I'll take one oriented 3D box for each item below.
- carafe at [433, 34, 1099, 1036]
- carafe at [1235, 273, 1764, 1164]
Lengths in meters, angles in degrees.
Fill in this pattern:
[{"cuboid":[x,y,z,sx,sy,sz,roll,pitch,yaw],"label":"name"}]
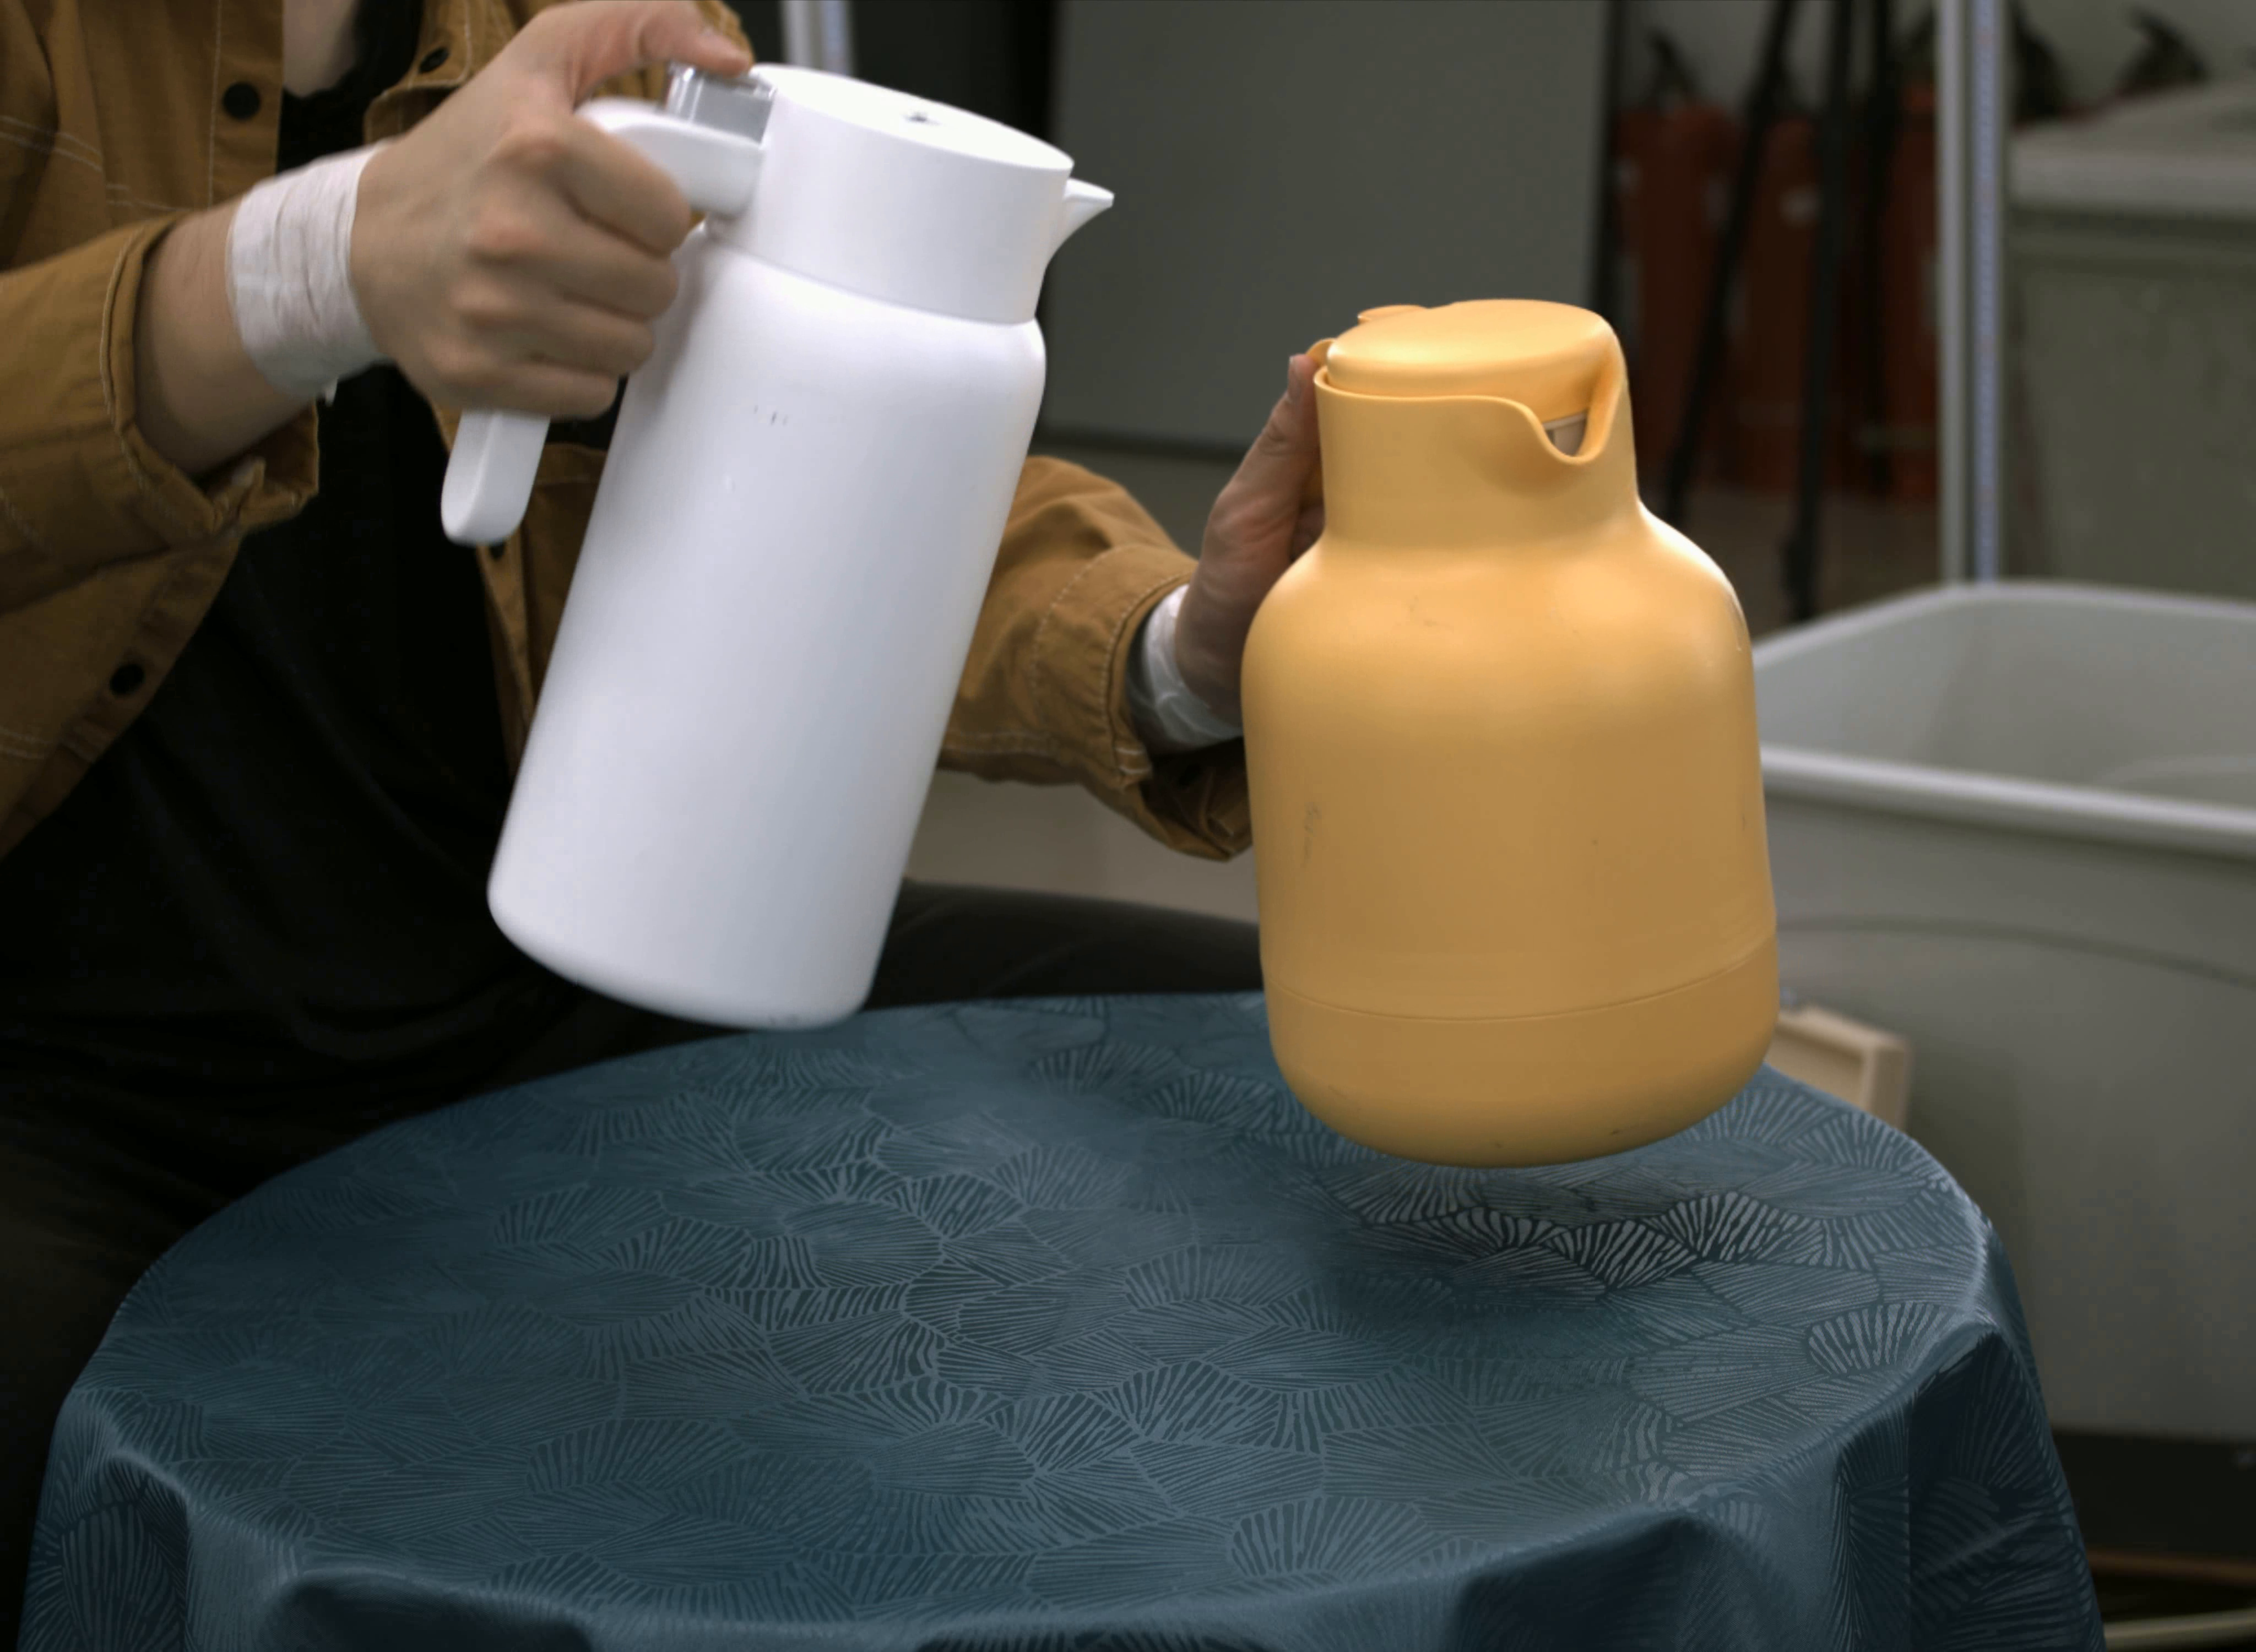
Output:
[{"cuboid":[-0.115,-0.084,1.556,0.169,0.272,0.125,9,17,-25],"label":"carafe"},{"cuboid":[0.108,-0.042,1.689,0.160,0.263,0.204,-9,17,-17],"label":"carafe"}]
